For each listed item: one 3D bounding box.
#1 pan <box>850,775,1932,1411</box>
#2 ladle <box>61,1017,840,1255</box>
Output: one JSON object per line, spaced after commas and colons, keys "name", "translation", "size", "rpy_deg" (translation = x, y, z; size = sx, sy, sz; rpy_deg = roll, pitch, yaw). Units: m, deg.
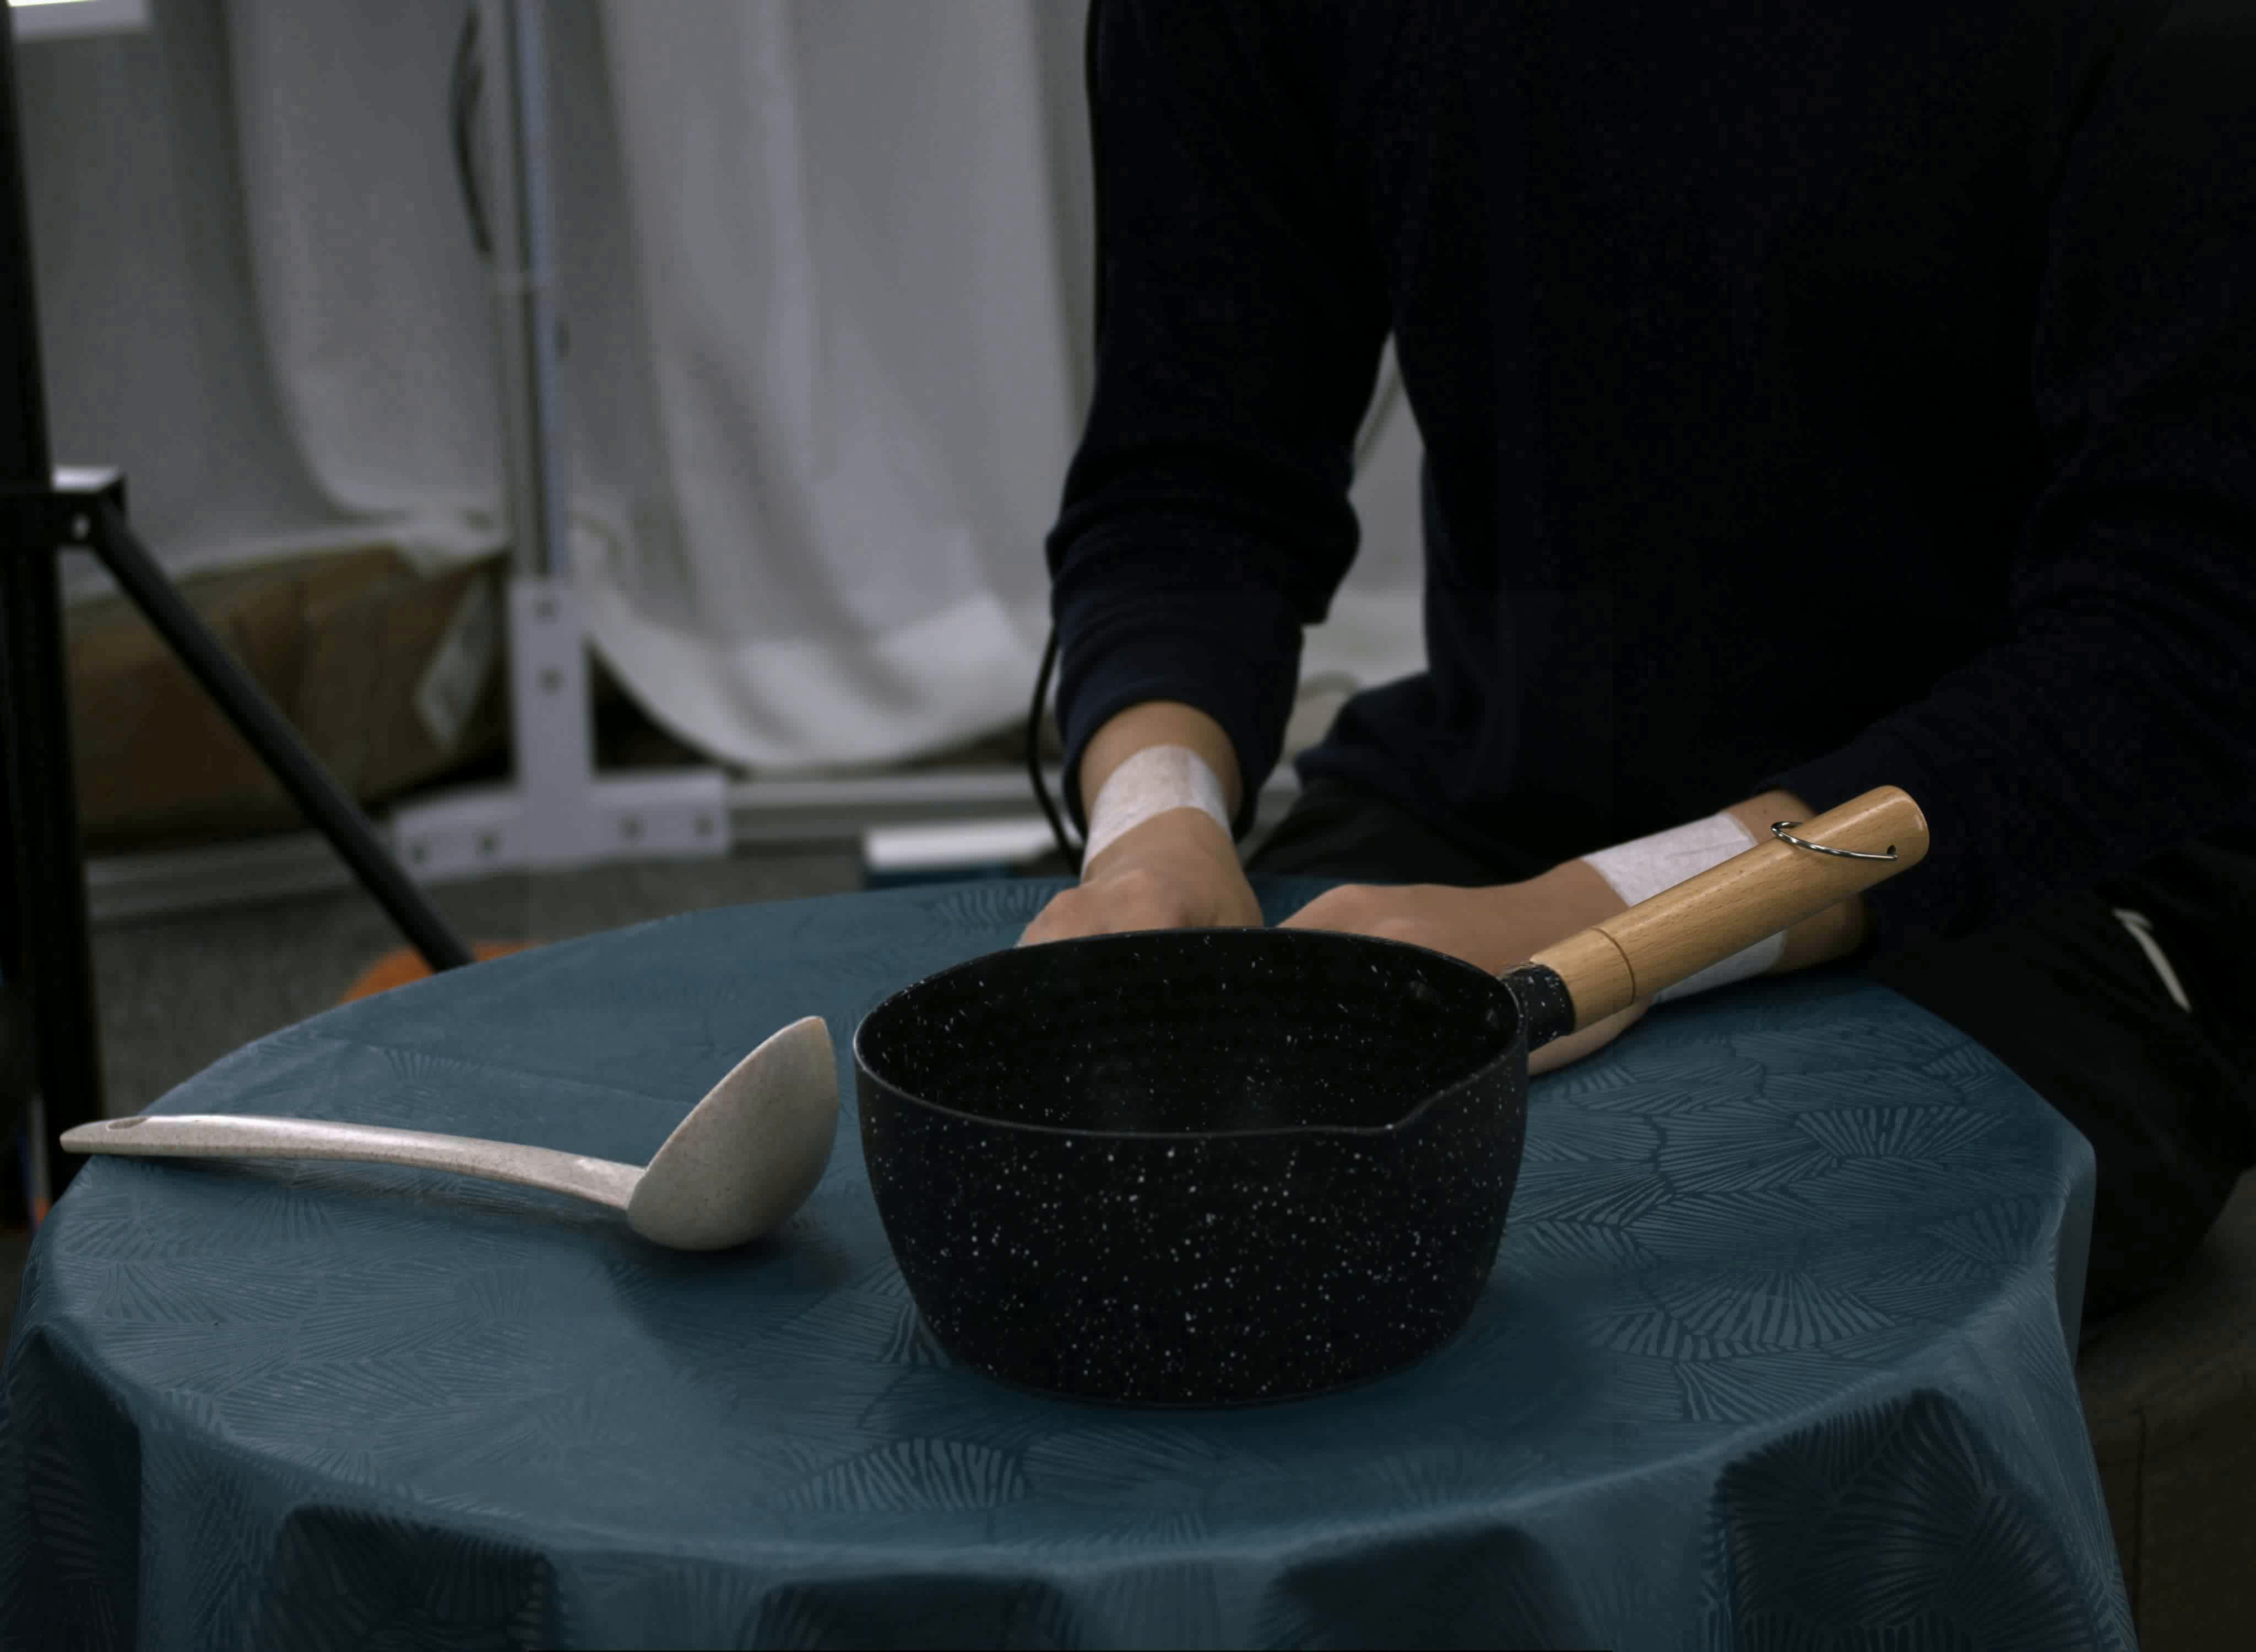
{"name": "pan", "translation": [0.085, 0.069, 1.483], "size": [0.335, 0.108, 0.212], "rpy_deg": [-13, 17, -28]}
{"name": "ladle", "translation": [-0.209, 0.079, 1.577], "size": [0.279, 0.069, 0.088], "rpy_deg": [5, 25, 29]}
